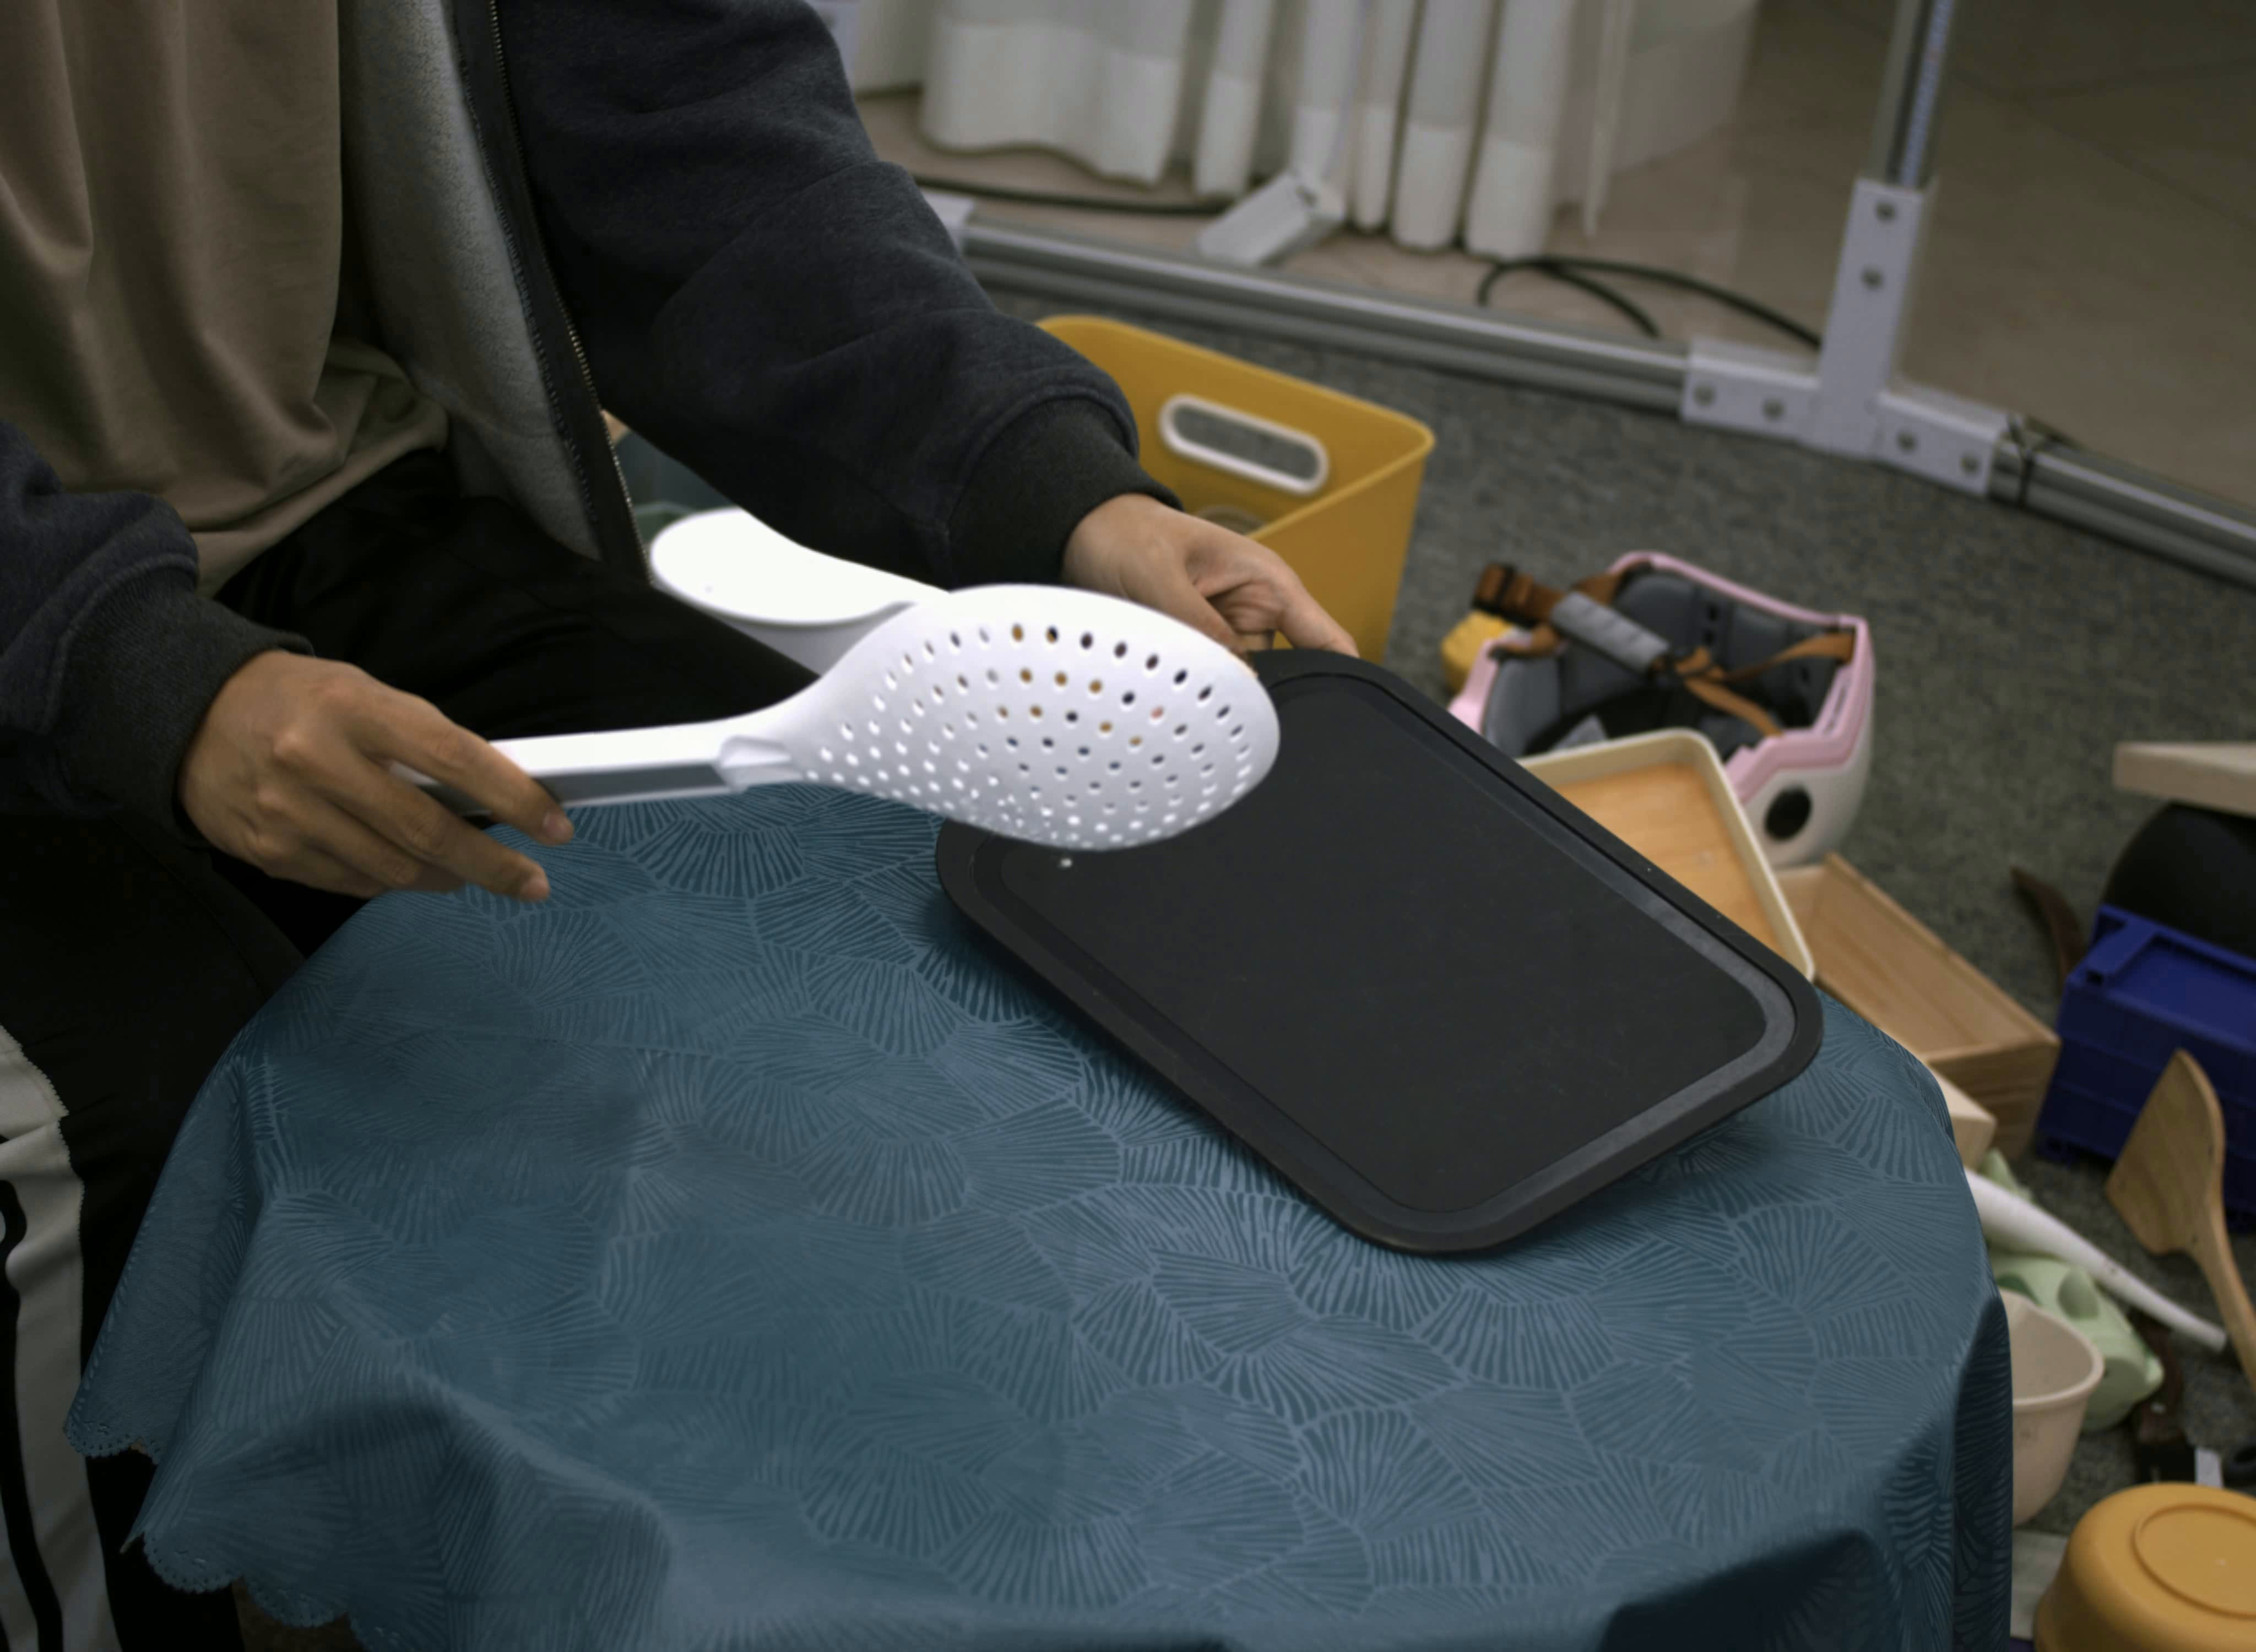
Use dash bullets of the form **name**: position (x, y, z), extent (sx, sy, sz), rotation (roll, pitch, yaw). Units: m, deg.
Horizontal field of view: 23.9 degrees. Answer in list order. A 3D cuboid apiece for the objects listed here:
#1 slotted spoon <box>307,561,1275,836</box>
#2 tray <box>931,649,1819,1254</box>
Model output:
- **slotted spoon**: position (-0.119, -0.029, 1.742), extent (0.351, 0.135, 0.046), rotation (0, 55, 28)
- **tray**: position (0.079, 0.034, 1.914), extent (0.210, 0.010, 0.328), rotation (-26, 45, -27)
